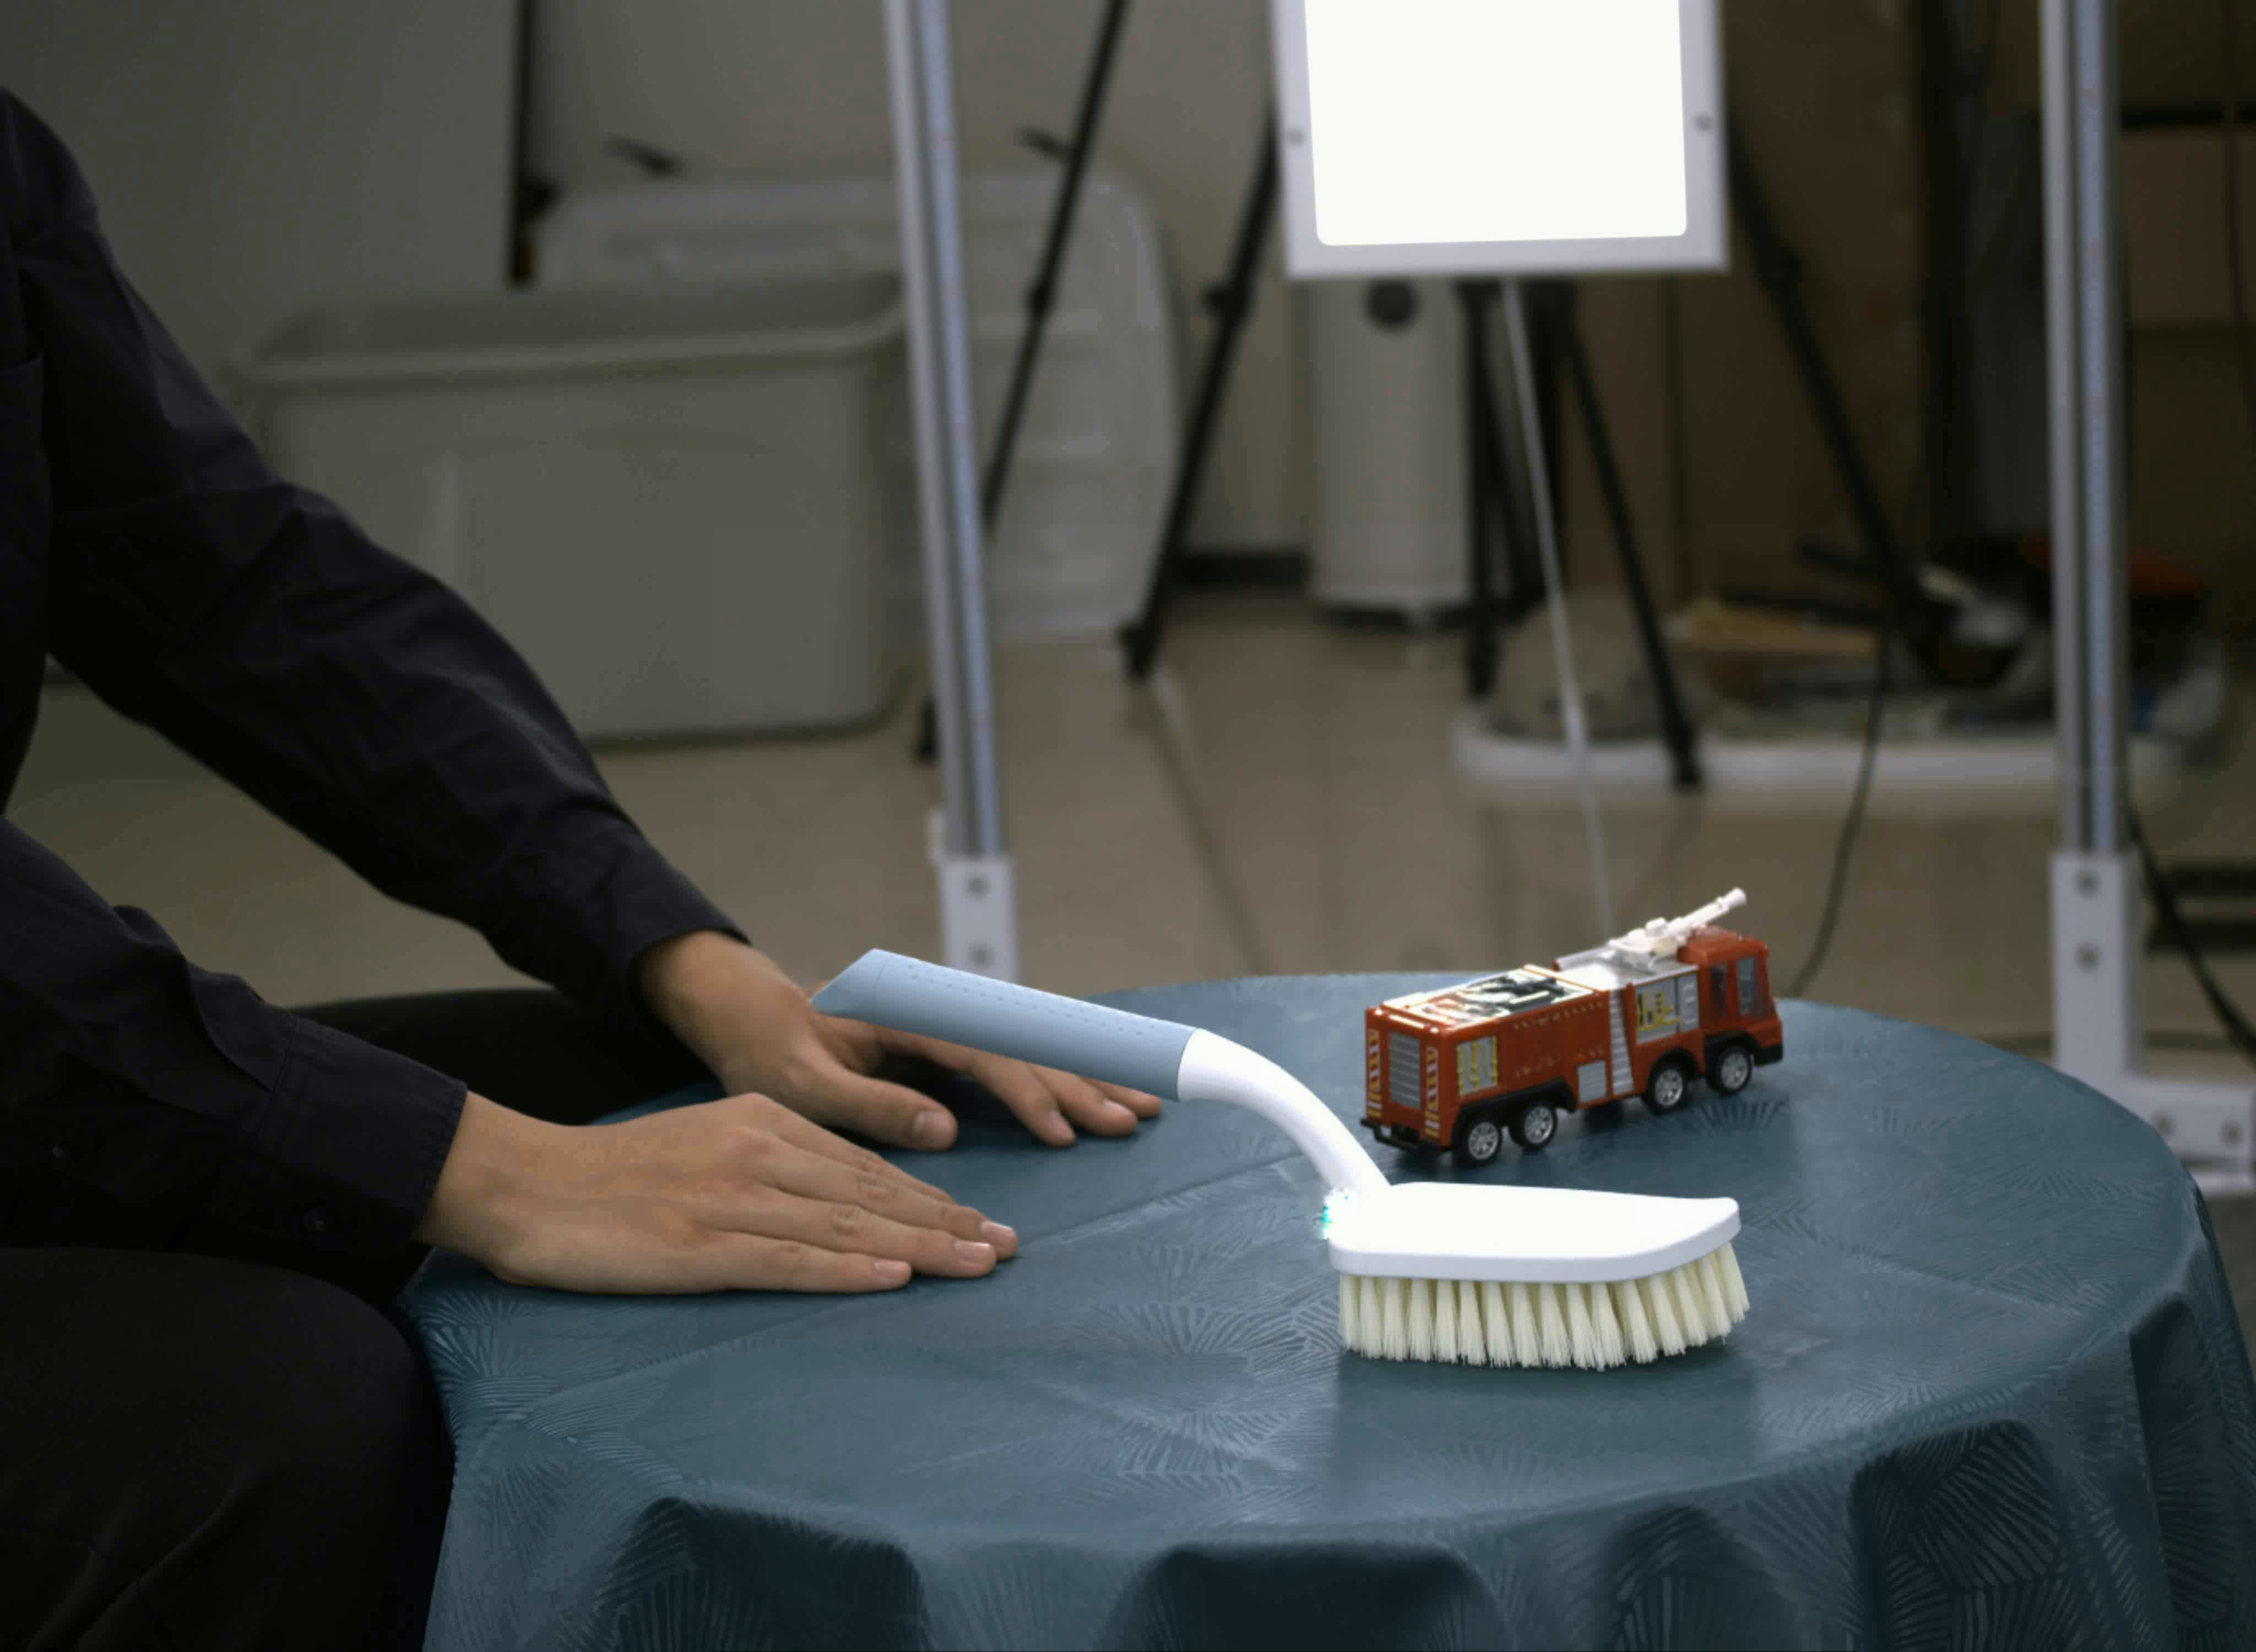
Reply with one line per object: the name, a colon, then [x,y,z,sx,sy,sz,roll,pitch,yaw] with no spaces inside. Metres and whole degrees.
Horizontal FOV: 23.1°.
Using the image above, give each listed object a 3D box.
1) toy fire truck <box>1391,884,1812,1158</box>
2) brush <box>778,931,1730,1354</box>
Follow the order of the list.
toy fire truck: [0.169,0.071,1.932,0.164,0.070,0.055,-15,15,-32]
brush: [0.035,0.114,1.755,0.329,0.084,0.082,14,-17,20]
